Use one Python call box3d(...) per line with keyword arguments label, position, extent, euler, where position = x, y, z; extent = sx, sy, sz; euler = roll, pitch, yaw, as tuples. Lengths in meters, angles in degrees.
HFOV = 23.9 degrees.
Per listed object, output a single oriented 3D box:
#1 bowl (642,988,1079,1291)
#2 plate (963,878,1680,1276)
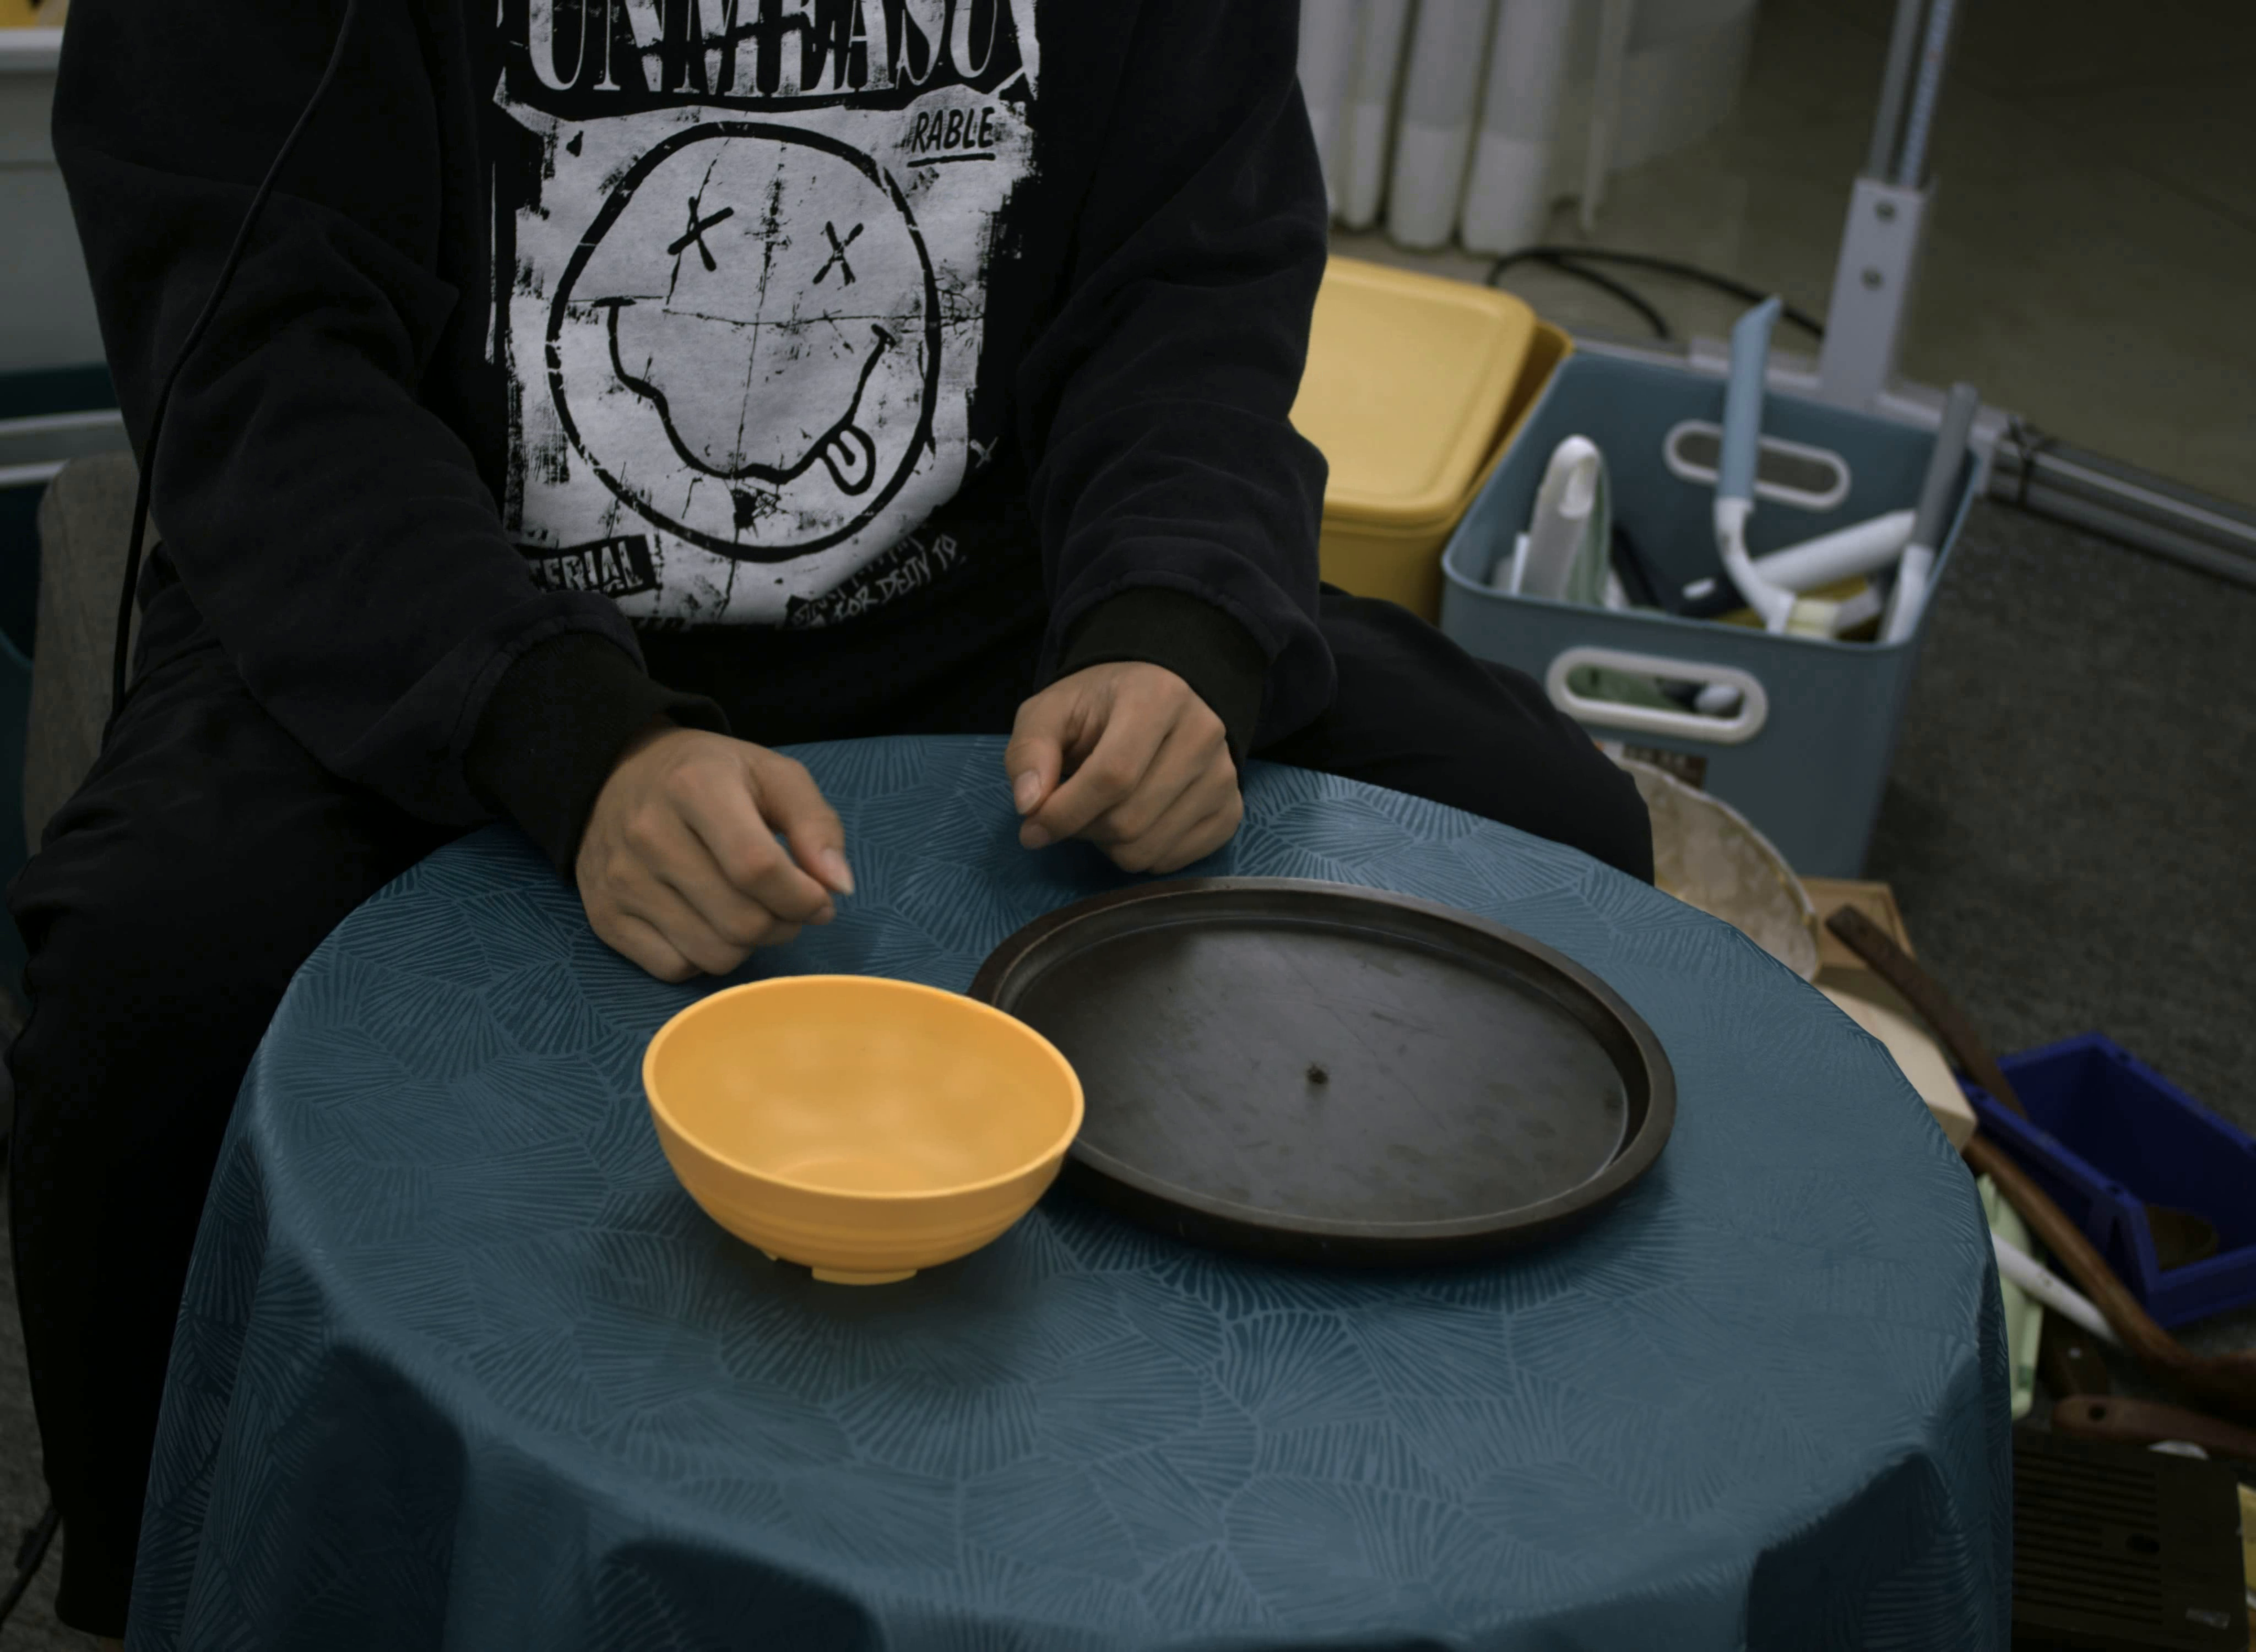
box3d(label="bowl", position=(-0.090, 0.111, 1.744), extent=(0.145, 0.060, 0.146), euler=(6, 24, -3))
box3d(label="plate", position=(0.067, 0.086, 1.864), extent=(0.254, 0.029, 0.256), euler=(4, 26, -2))
